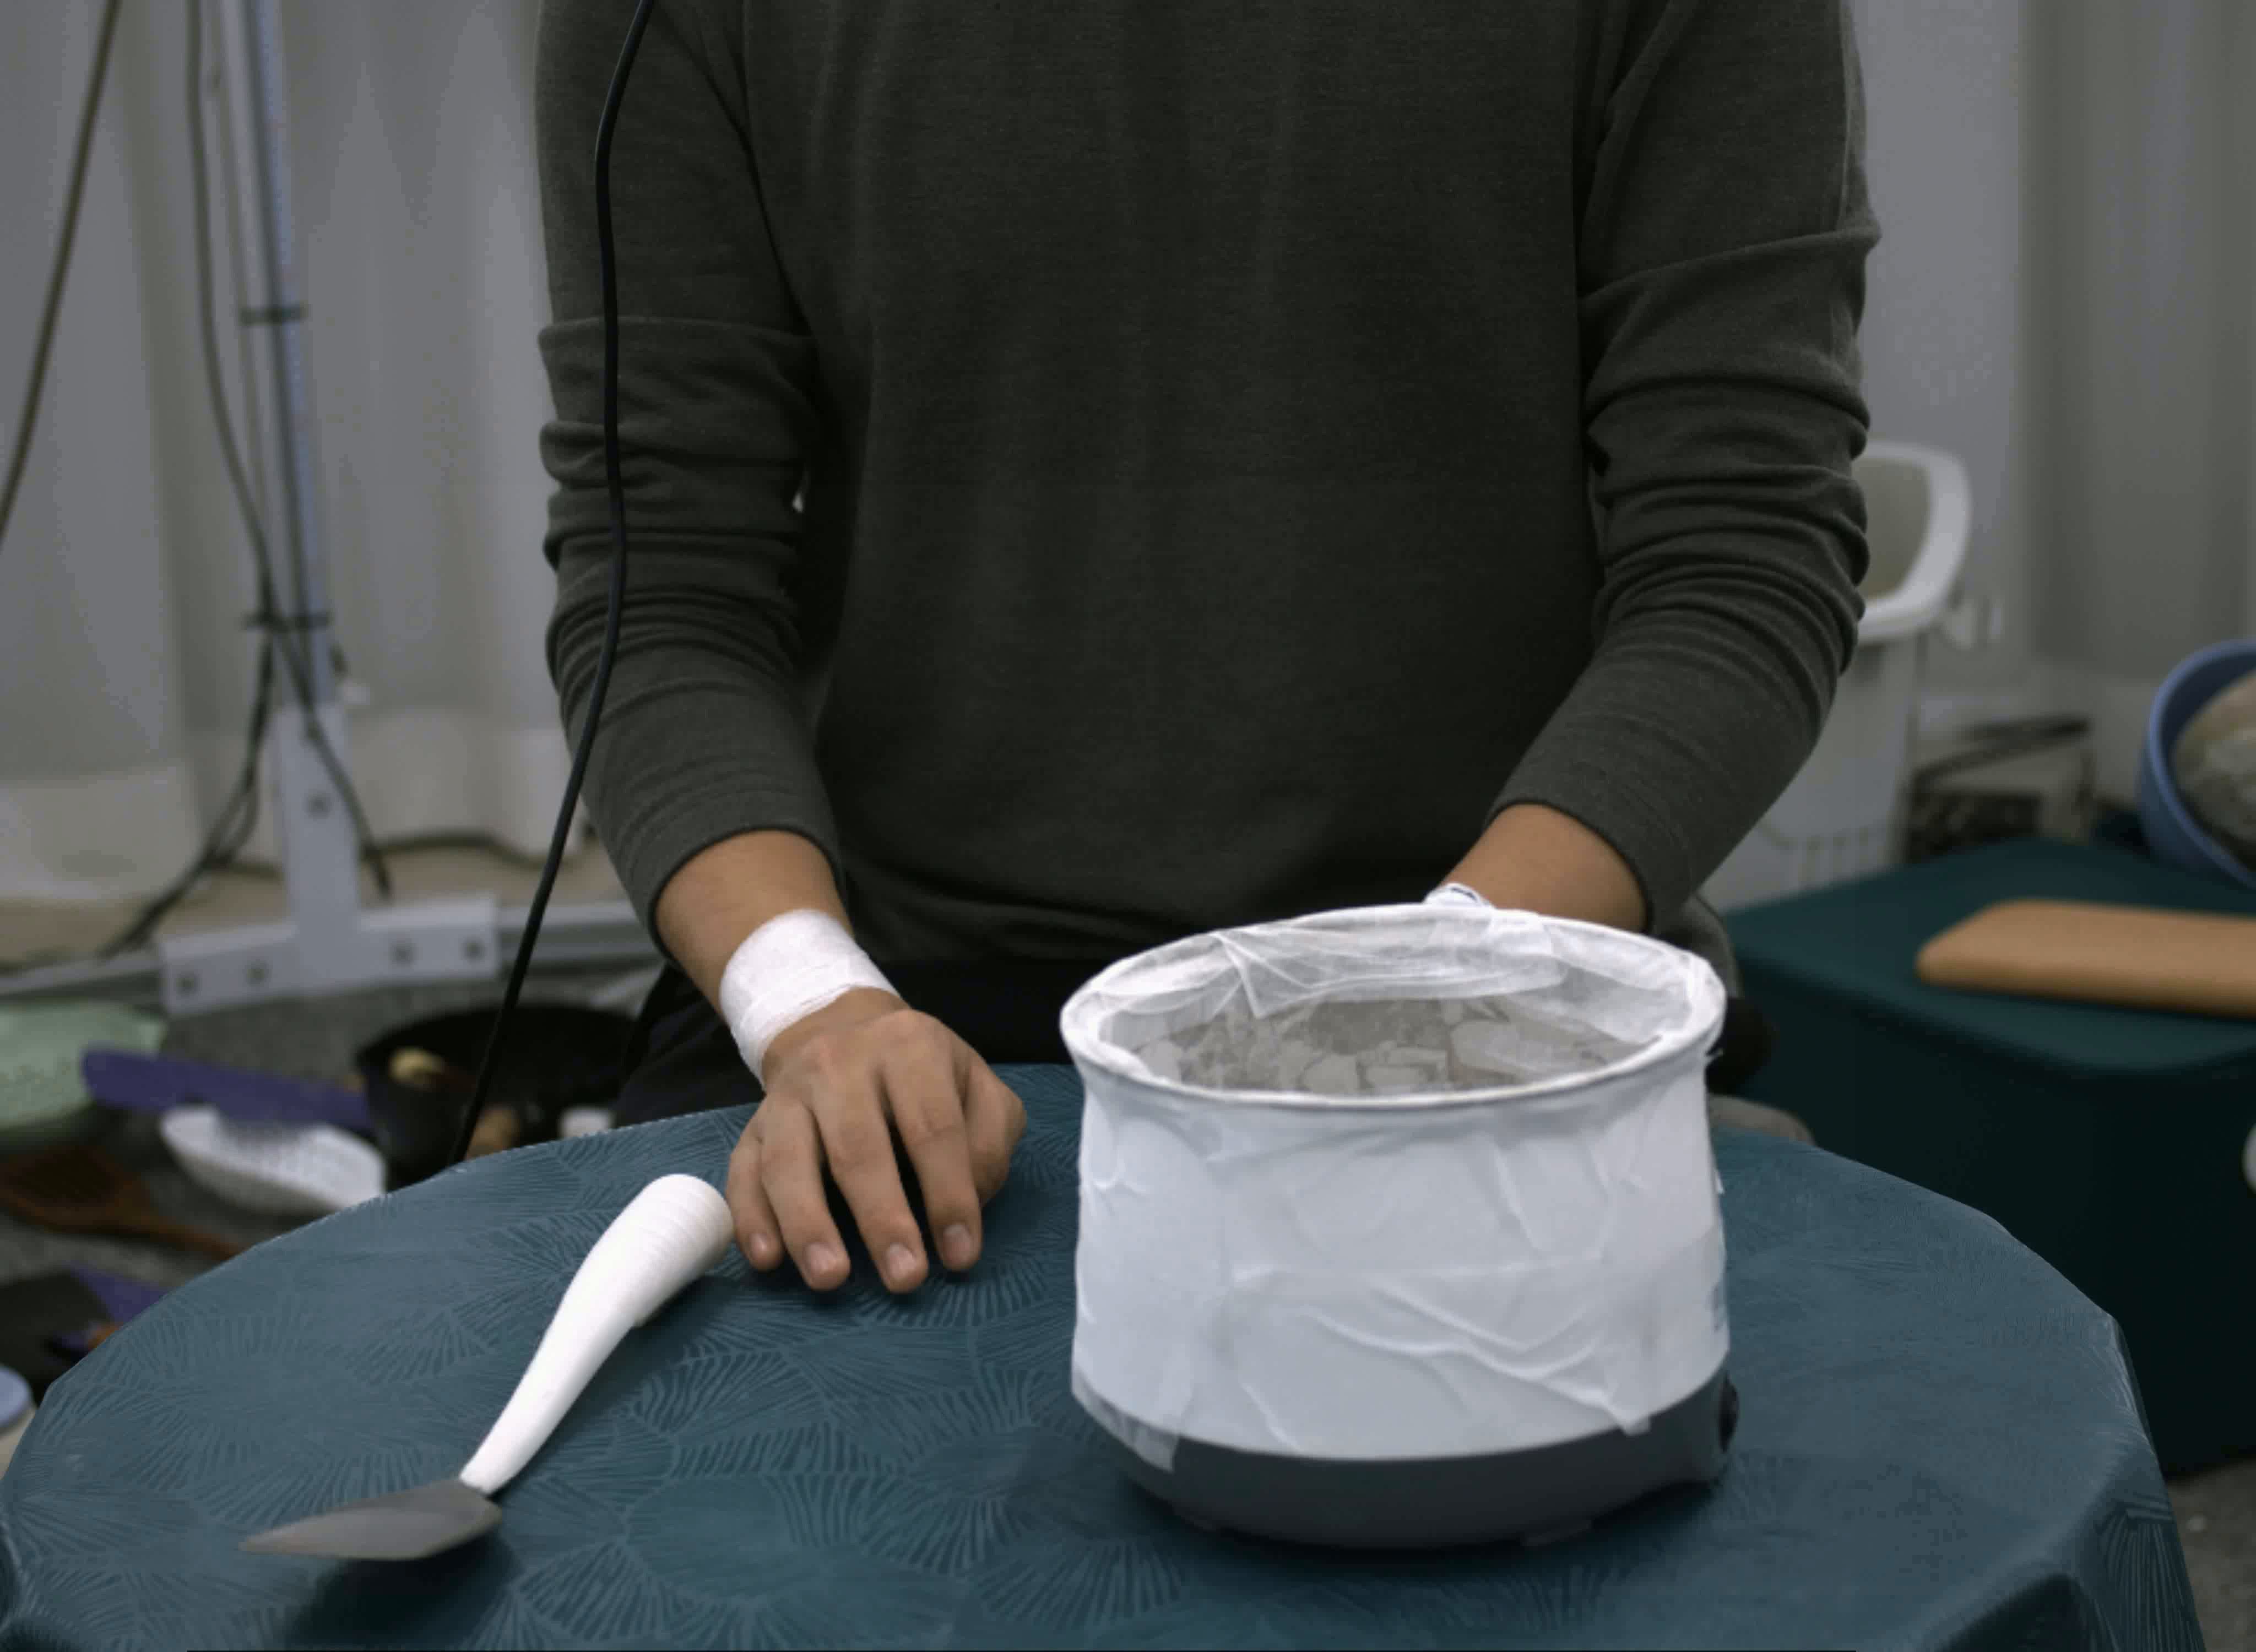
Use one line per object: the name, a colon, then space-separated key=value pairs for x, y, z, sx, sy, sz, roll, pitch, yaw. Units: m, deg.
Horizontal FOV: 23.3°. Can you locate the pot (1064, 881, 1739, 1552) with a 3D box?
pot: x=0.079 y=0.100 z=1.491 sx=0.178 sy=0.136 sz=0.235 roll=1 pitch=15 yaw=12

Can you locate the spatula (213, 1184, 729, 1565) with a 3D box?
spatula: x=-0.171 y=0.159 z=1.521 sx=0.058 sy=0.032 sz=0.289 roll=5 pitch=15 yaw=14
